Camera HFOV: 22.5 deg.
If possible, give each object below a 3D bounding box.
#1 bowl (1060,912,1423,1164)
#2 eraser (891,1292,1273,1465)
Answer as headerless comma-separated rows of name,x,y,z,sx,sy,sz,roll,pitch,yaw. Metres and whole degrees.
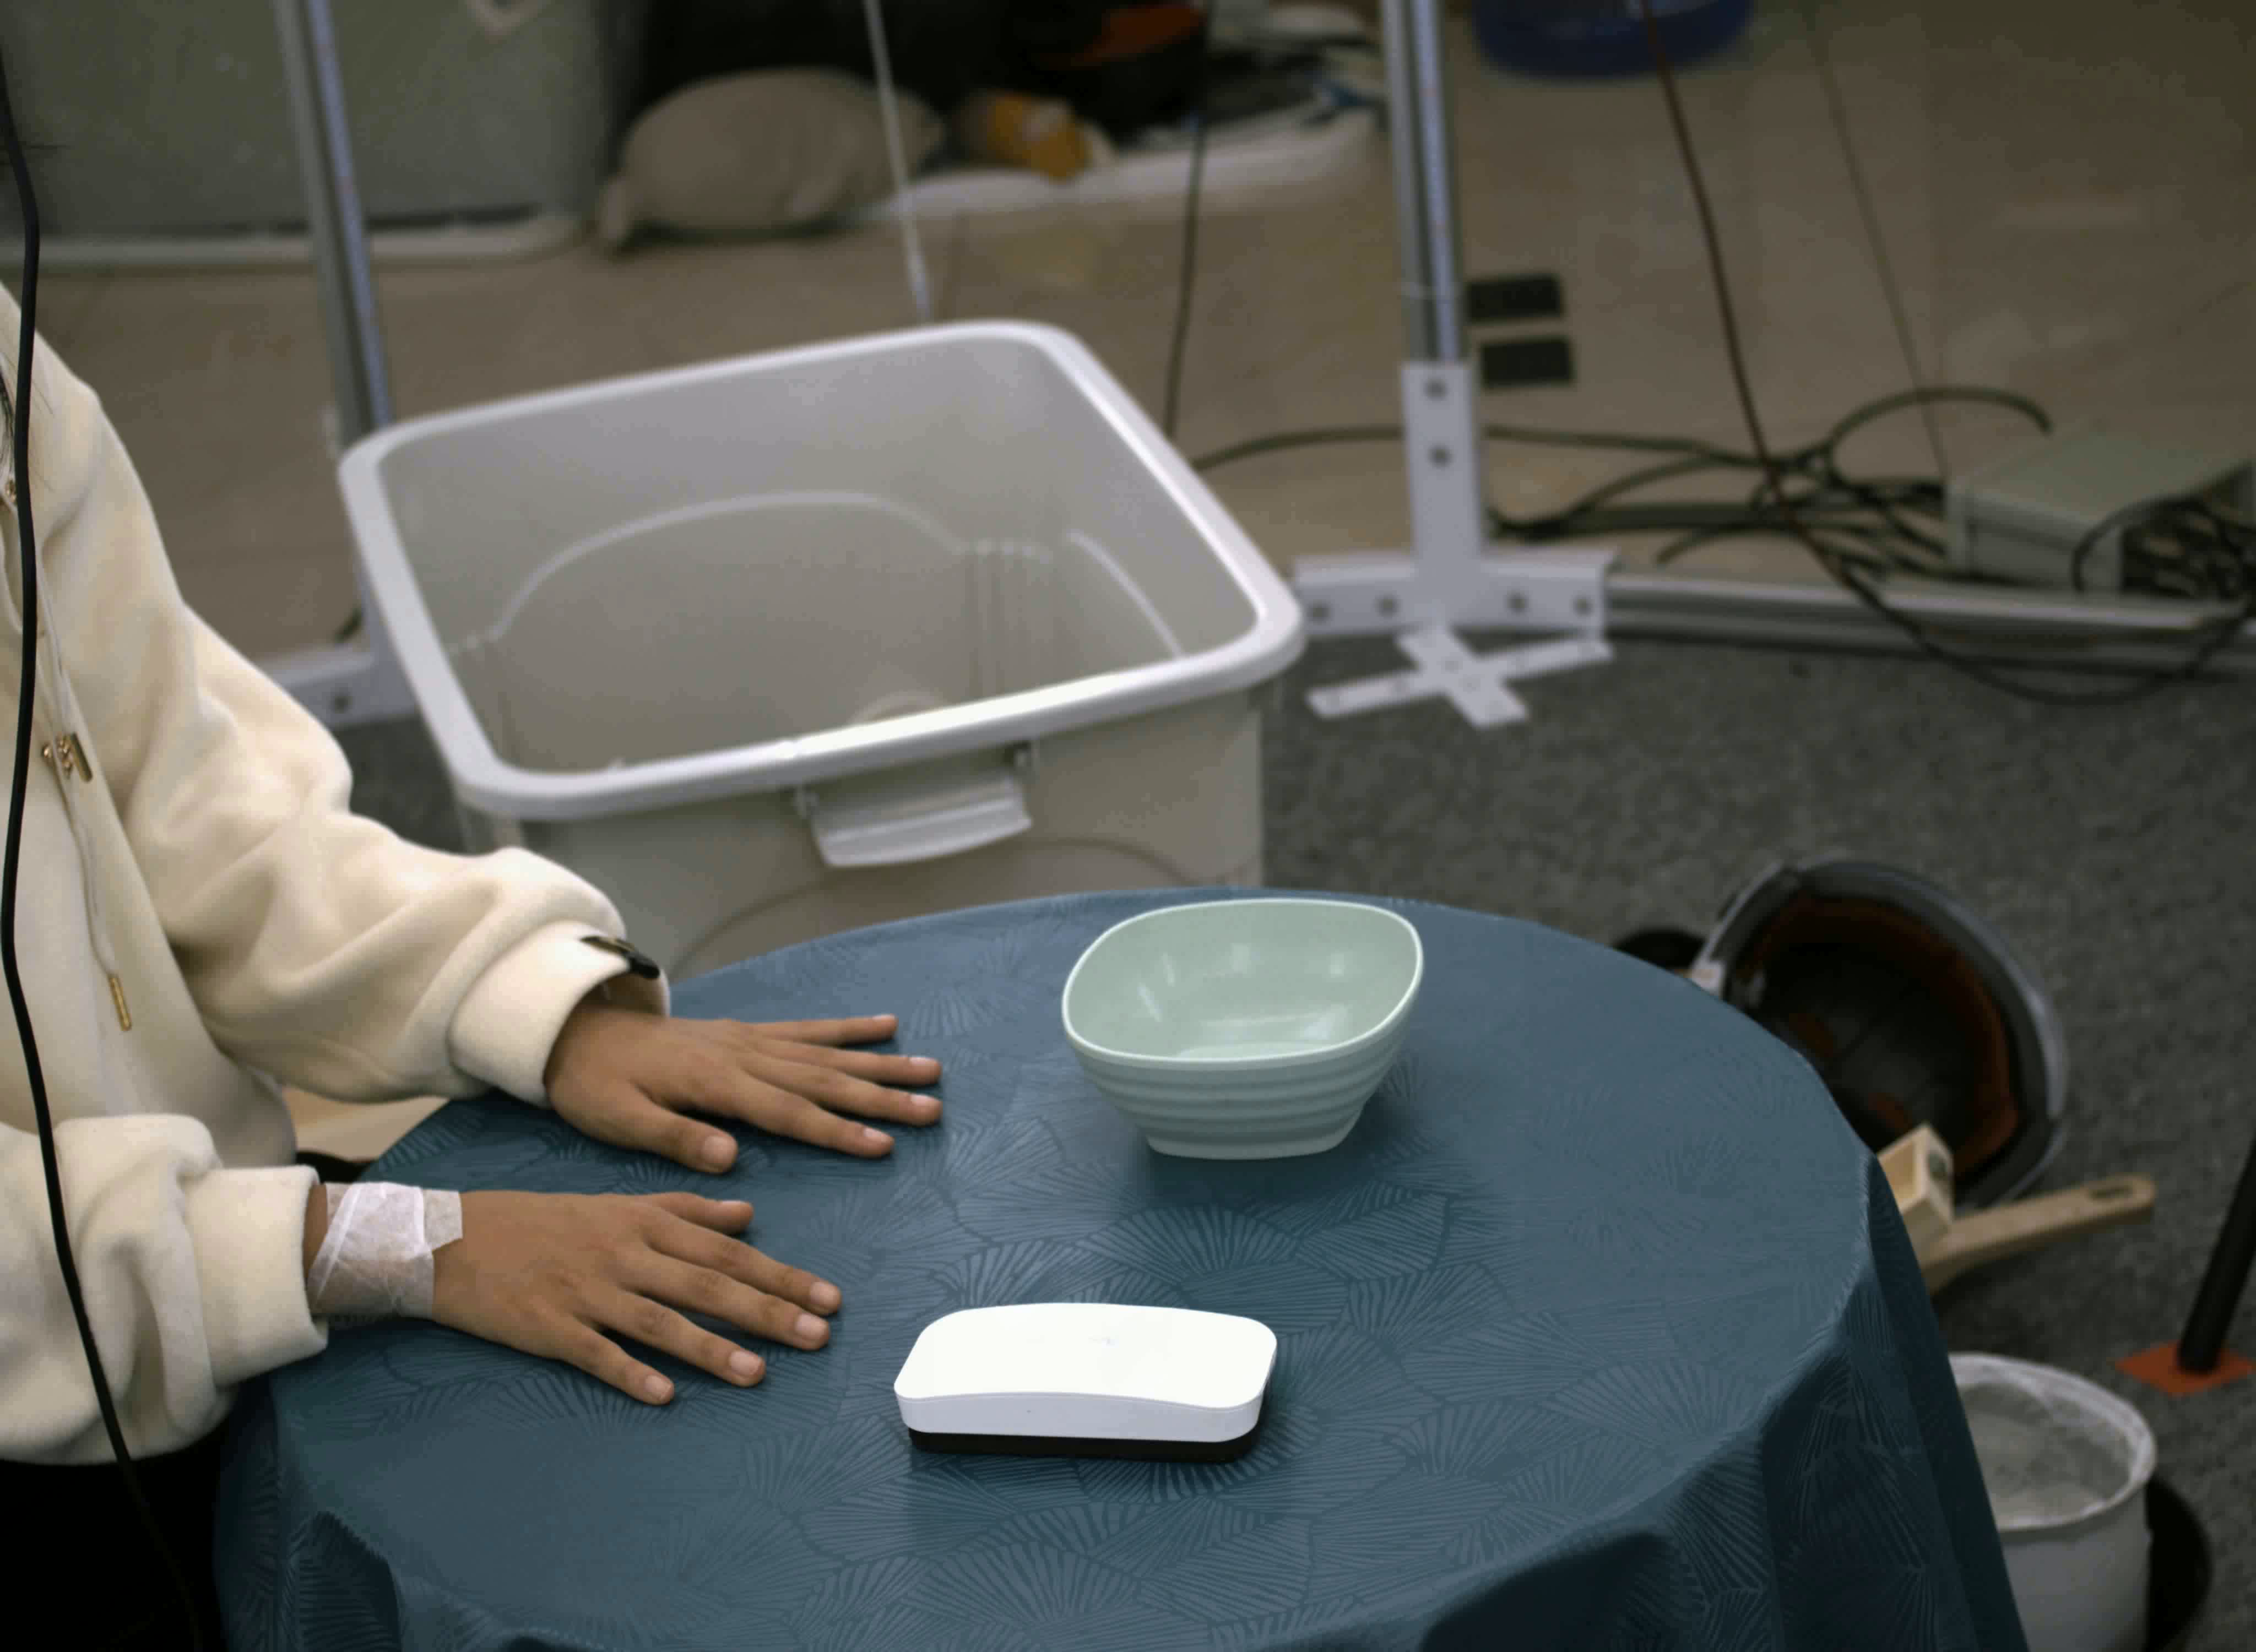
bowl,0.046,0.086,2.184,0.151,0.059,0.149,-5,23,2
eraser,-0.015,0.195,1.996,0.131,0.035,0.062,1,26,15
